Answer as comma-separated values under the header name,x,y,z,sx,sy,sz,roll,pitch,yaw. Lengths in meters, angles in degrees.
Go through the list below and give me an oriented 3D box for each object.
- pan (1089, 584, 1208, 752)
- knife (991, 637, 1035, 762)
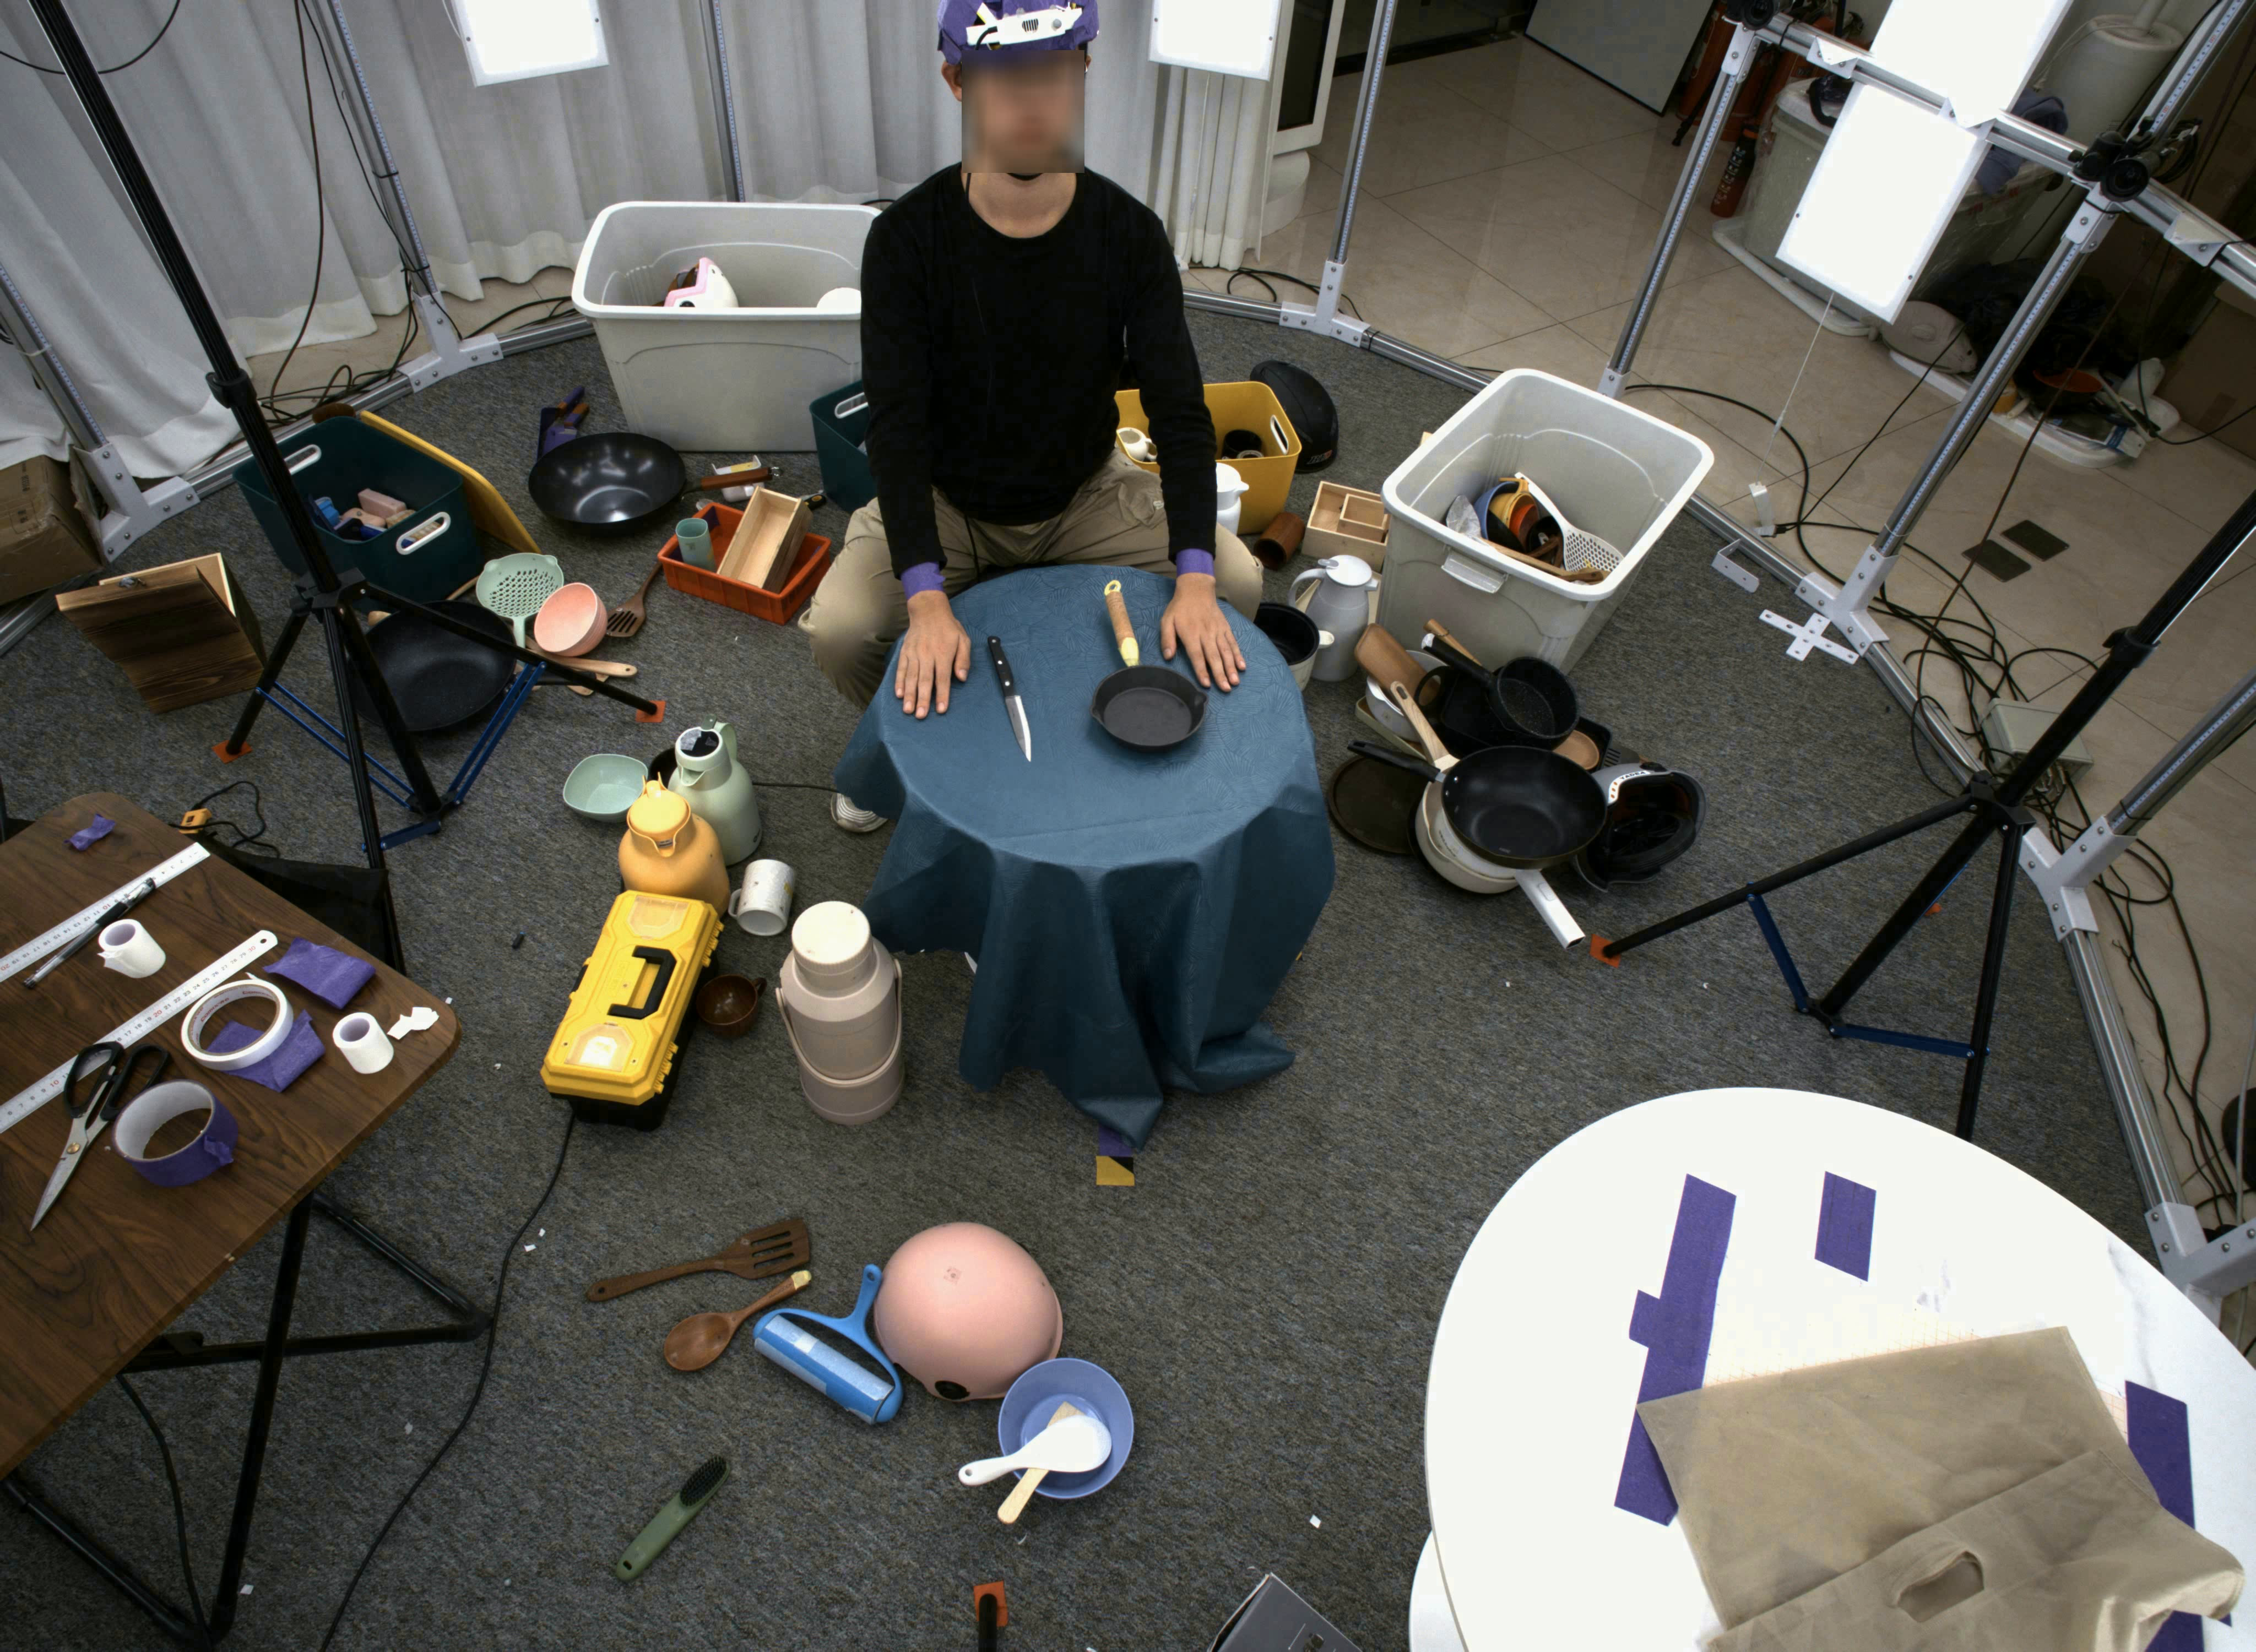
name,x,y,z,sx,sy,sz,roll,pitch,yaw
pan,0.012,-0.228,1.838,0.169,0.048,0.332,-7,49,-9
knife,-0.163,-0.180,1.808,0.024,0.016,0.244,-10,53,-12
